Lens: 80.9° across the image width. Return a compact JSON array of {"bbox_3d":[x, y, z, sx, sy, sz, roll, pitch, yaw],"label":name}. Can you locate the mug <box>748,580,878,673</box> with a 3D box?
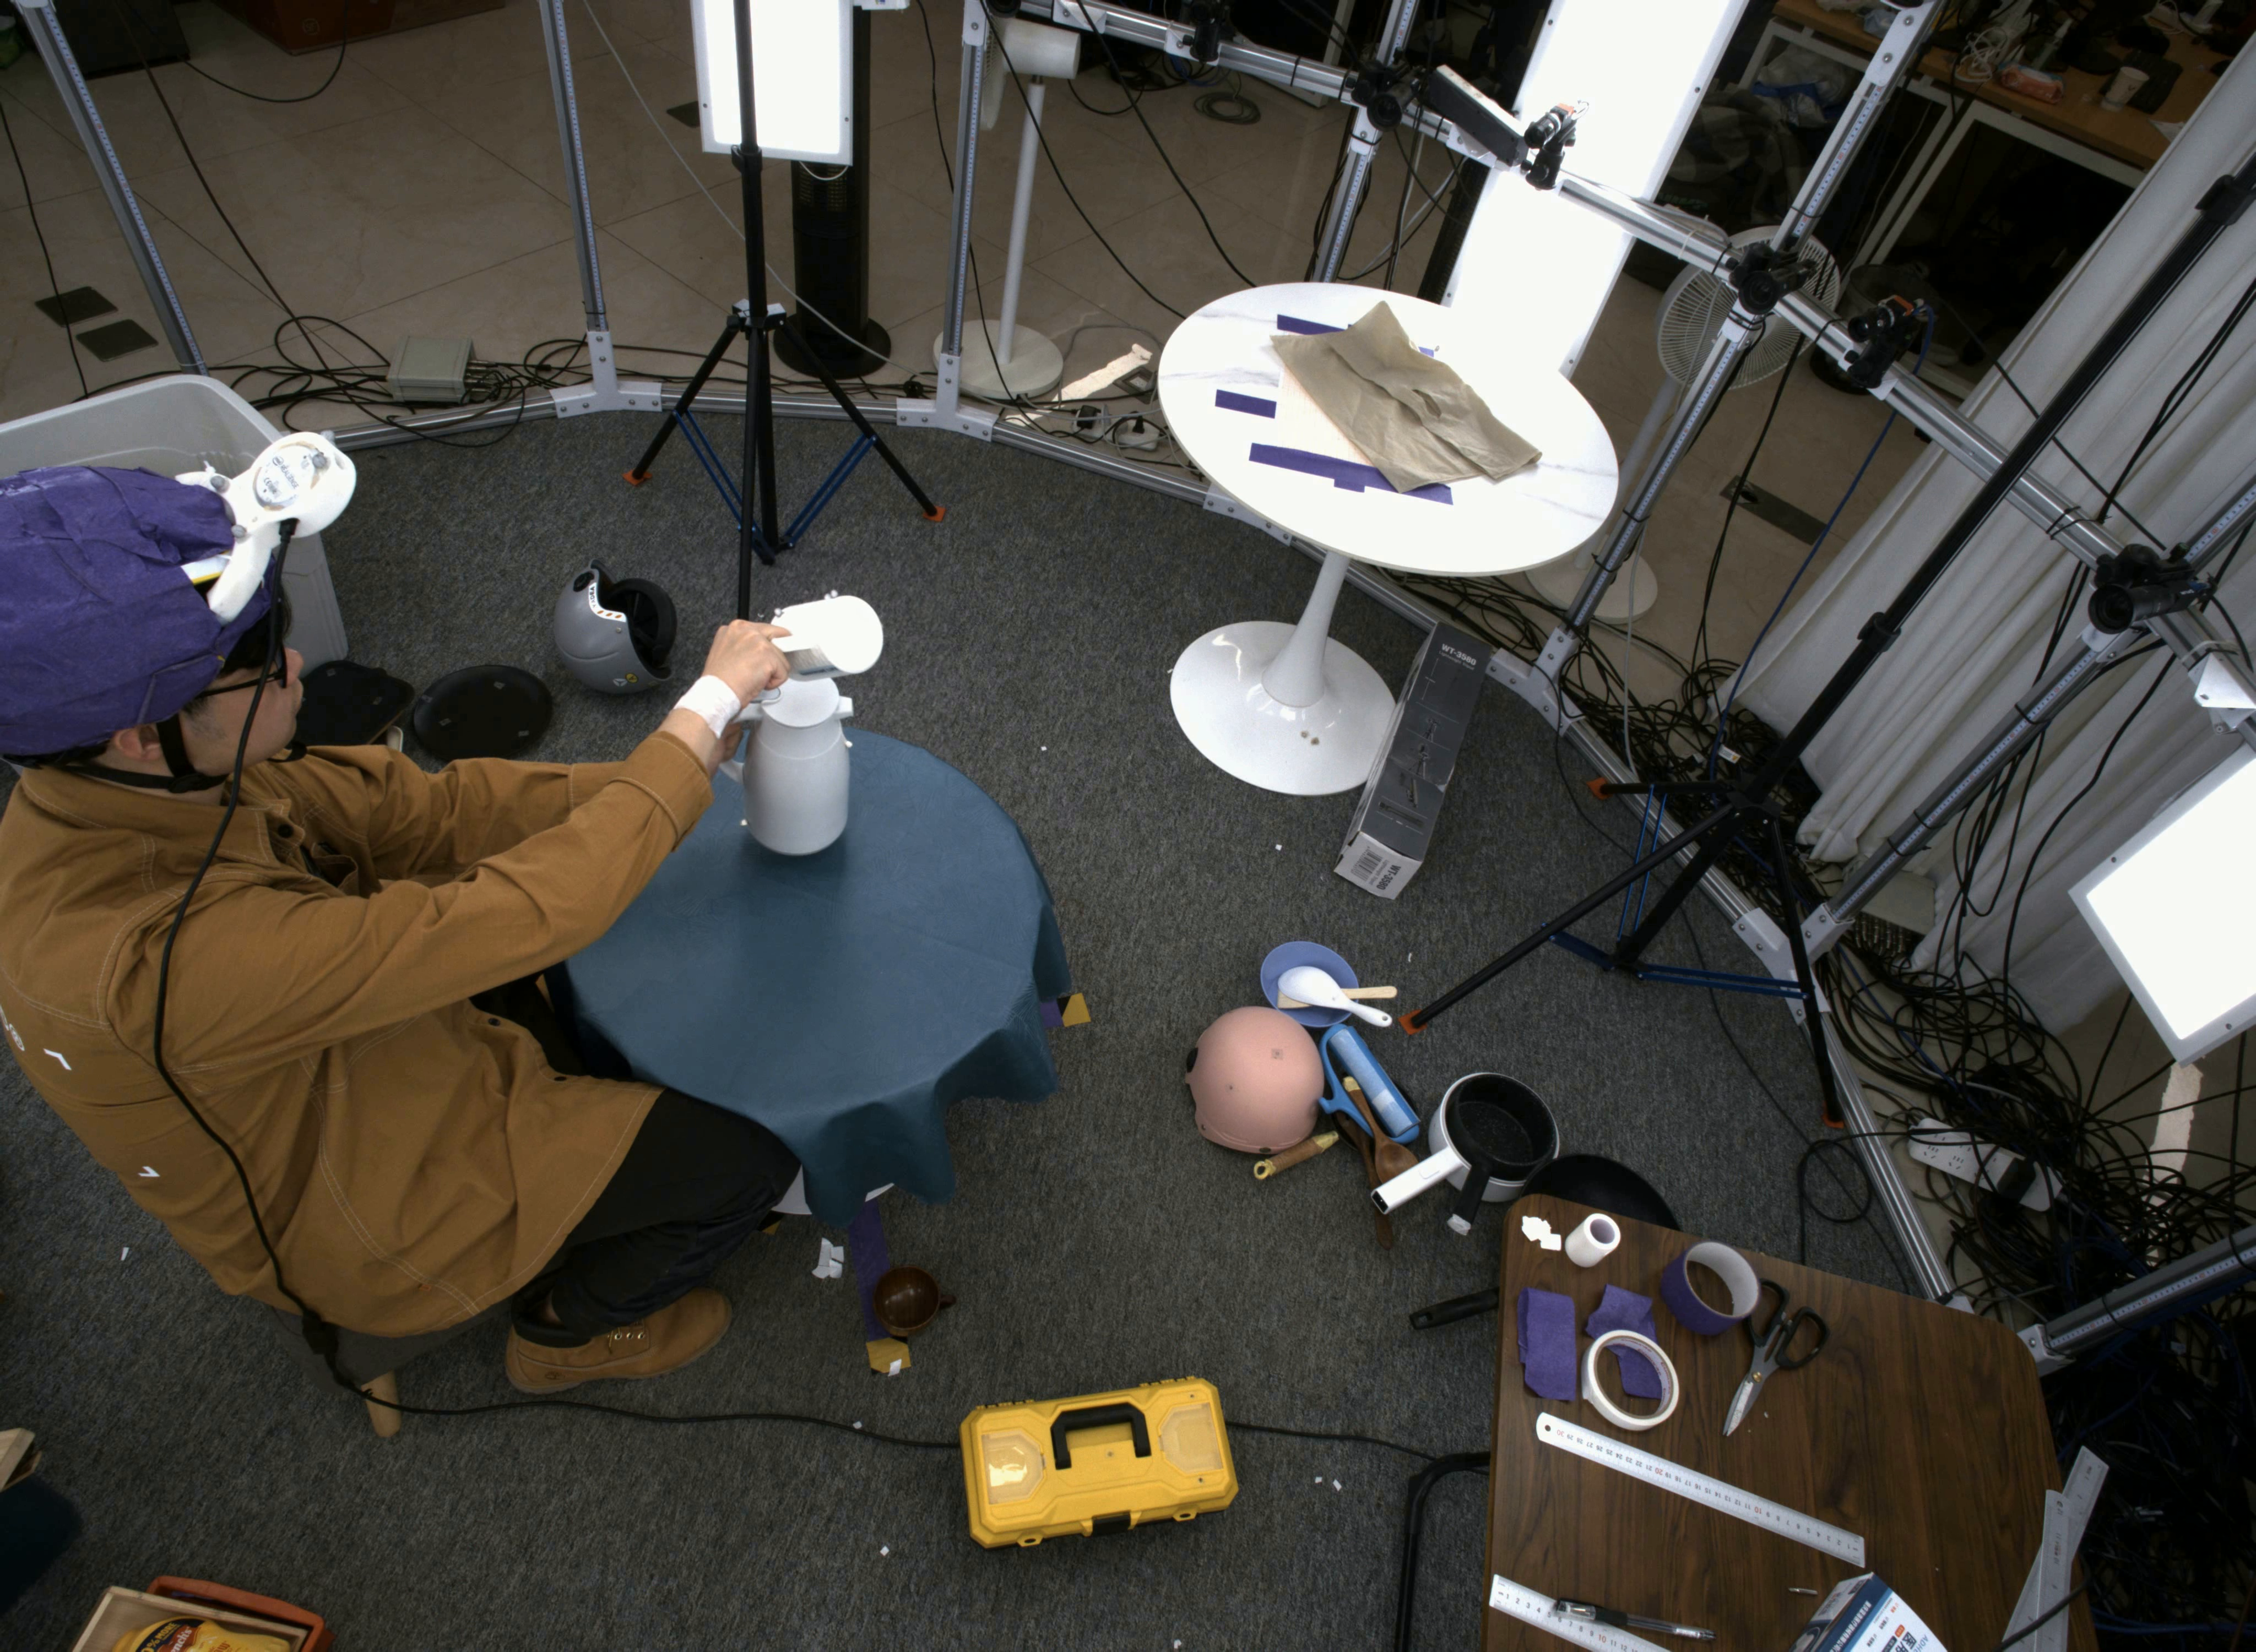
[{"bbox_3d":[-0.341,-0.209,1.375,0.120,0.098,0.086,-17,101,-48],"label":"mug"}]

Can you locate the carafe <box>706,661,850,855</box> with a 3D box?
[{"bbox_3d":[-0.423,-0.088,1.568,0.168,0.253,0.130,-2,57,-16],"label":"carafe"}]
